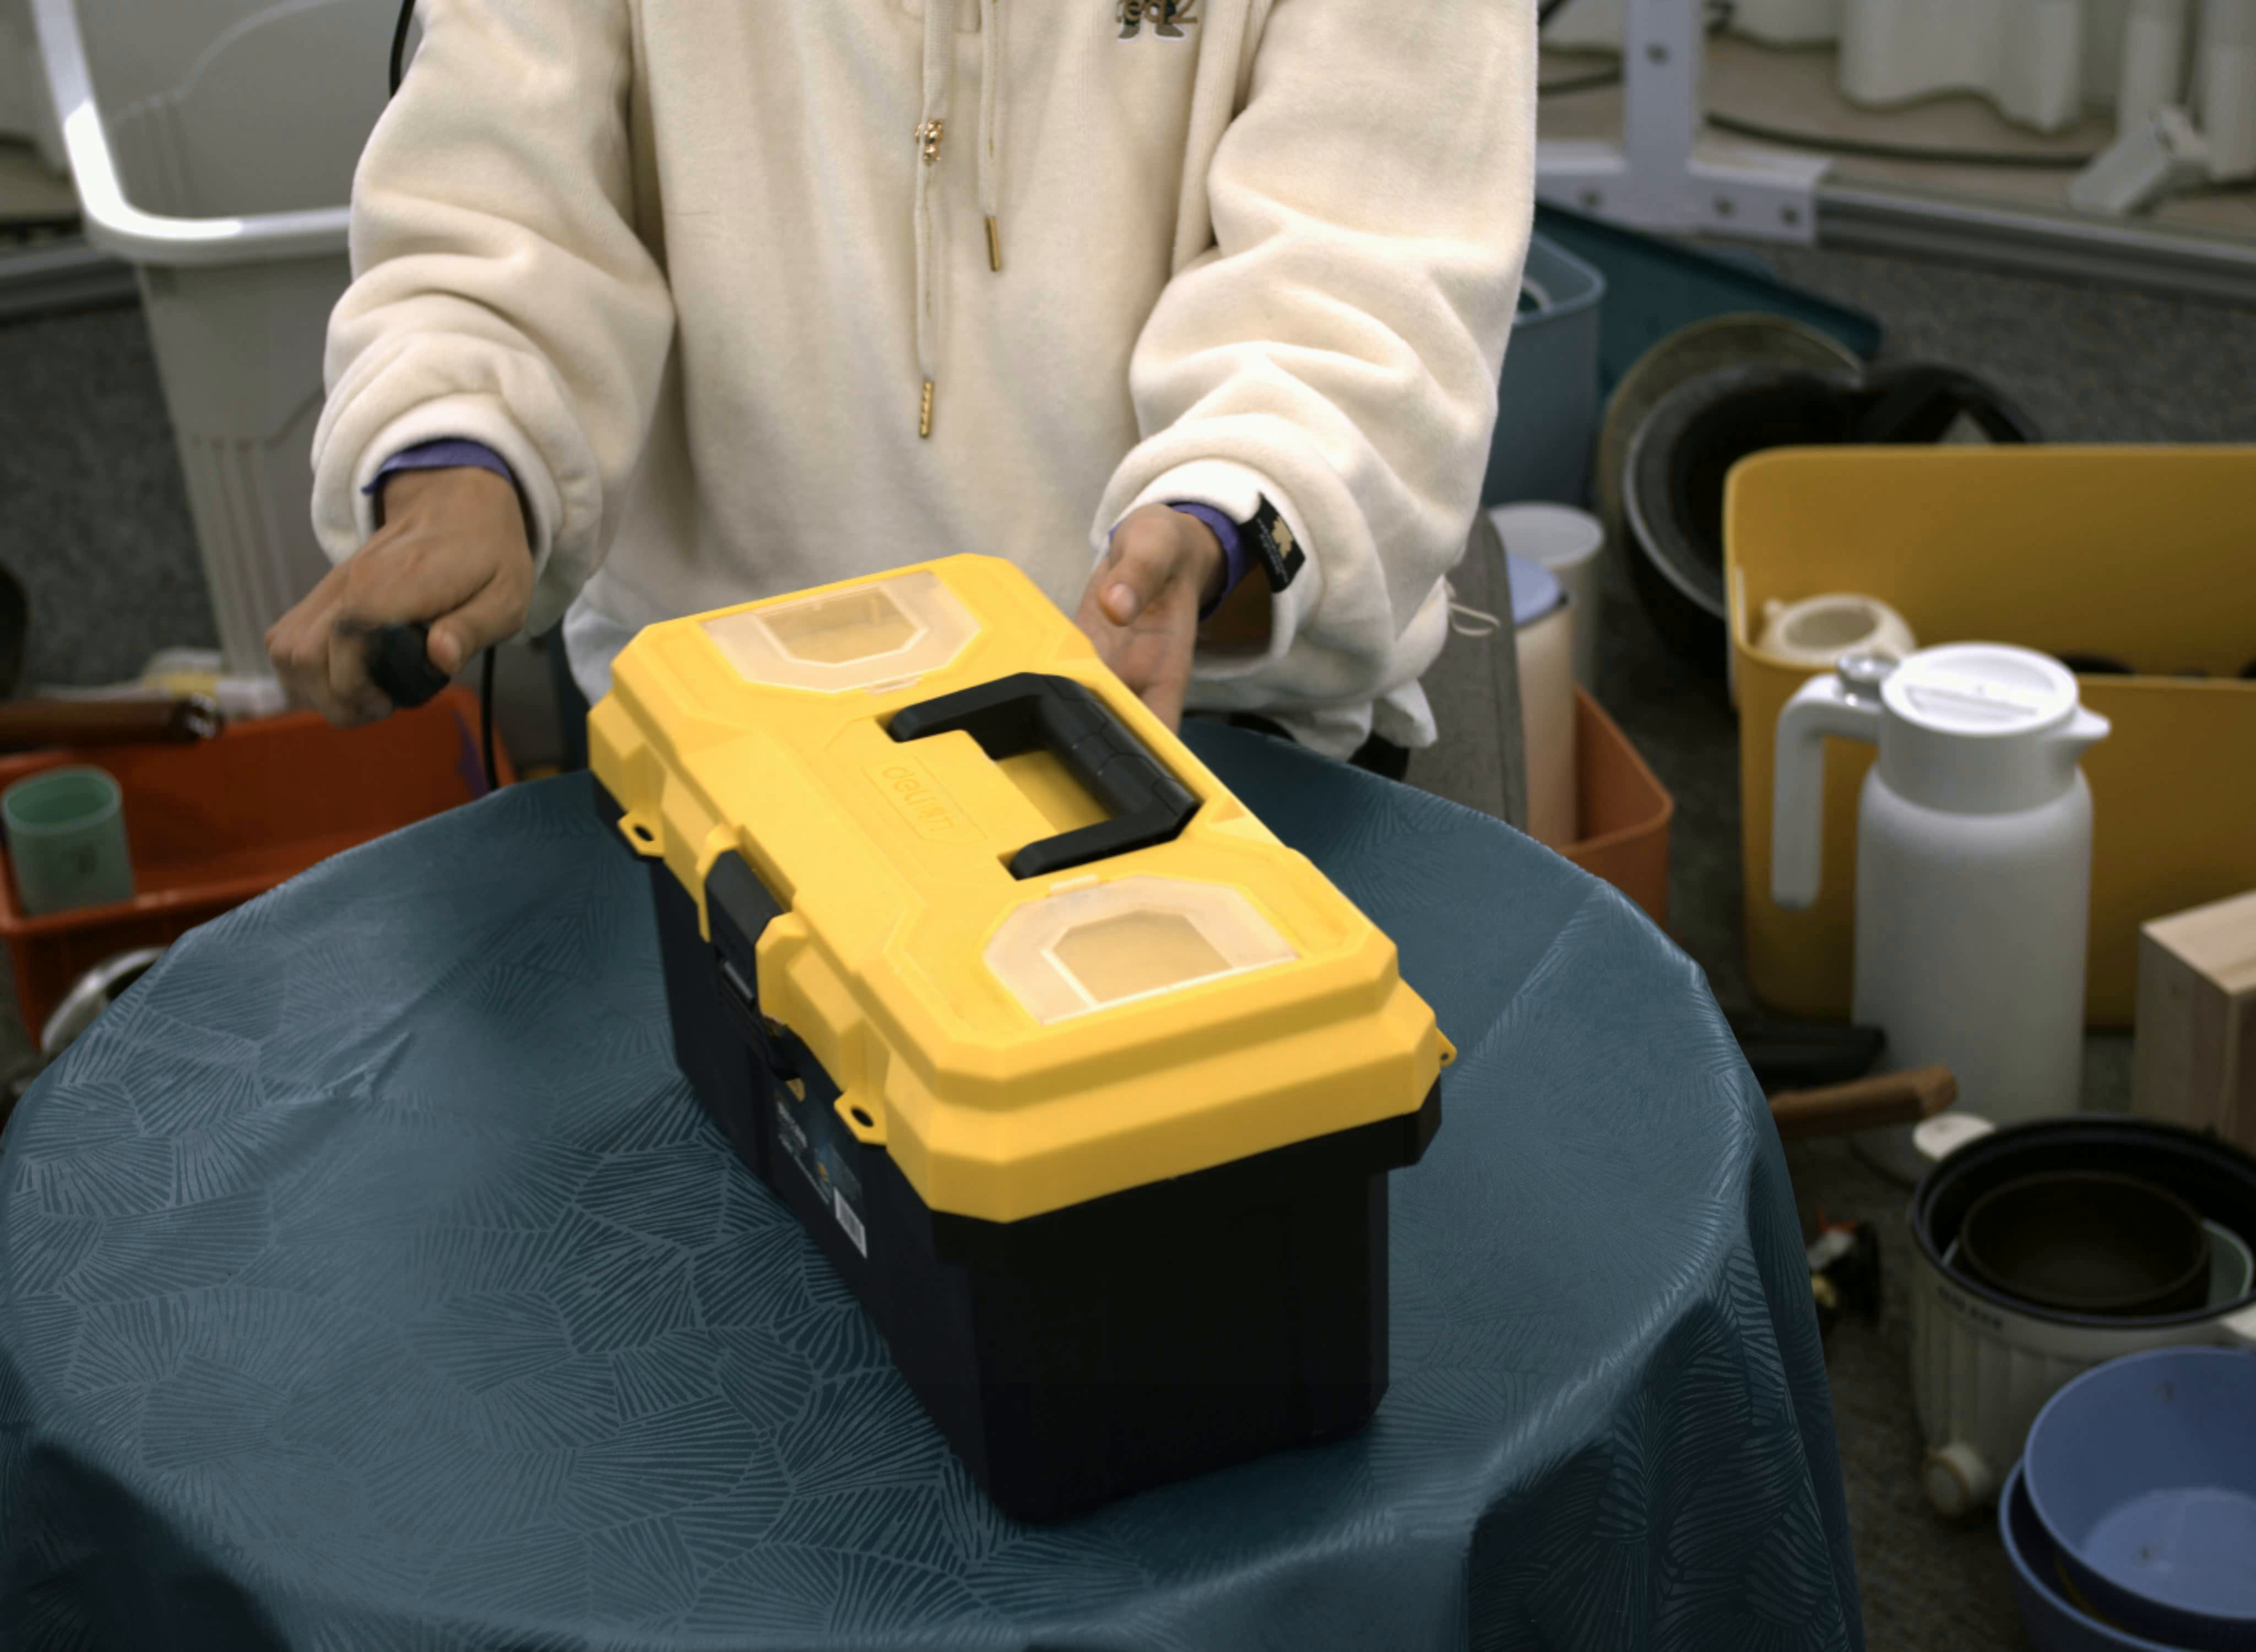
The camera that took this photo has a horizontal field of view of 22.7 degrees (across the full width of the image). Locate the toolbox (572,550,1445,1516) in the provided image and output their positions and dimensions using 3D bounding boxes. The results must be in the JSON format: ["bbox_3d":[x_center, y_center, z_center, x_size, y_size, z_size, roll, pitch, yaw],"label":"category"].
[{"bbox_3d":[-0.043,0.059,1.799,0.182,0.171,0.354,-13,29,-19],"label":"toolbox"}]

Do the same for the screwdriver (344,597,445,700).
[{"bbox_3d":[-0.260,-0.067,1.943,0.031,0.032,0.195,-3,-6,1],"label":"screwdriver"}]
